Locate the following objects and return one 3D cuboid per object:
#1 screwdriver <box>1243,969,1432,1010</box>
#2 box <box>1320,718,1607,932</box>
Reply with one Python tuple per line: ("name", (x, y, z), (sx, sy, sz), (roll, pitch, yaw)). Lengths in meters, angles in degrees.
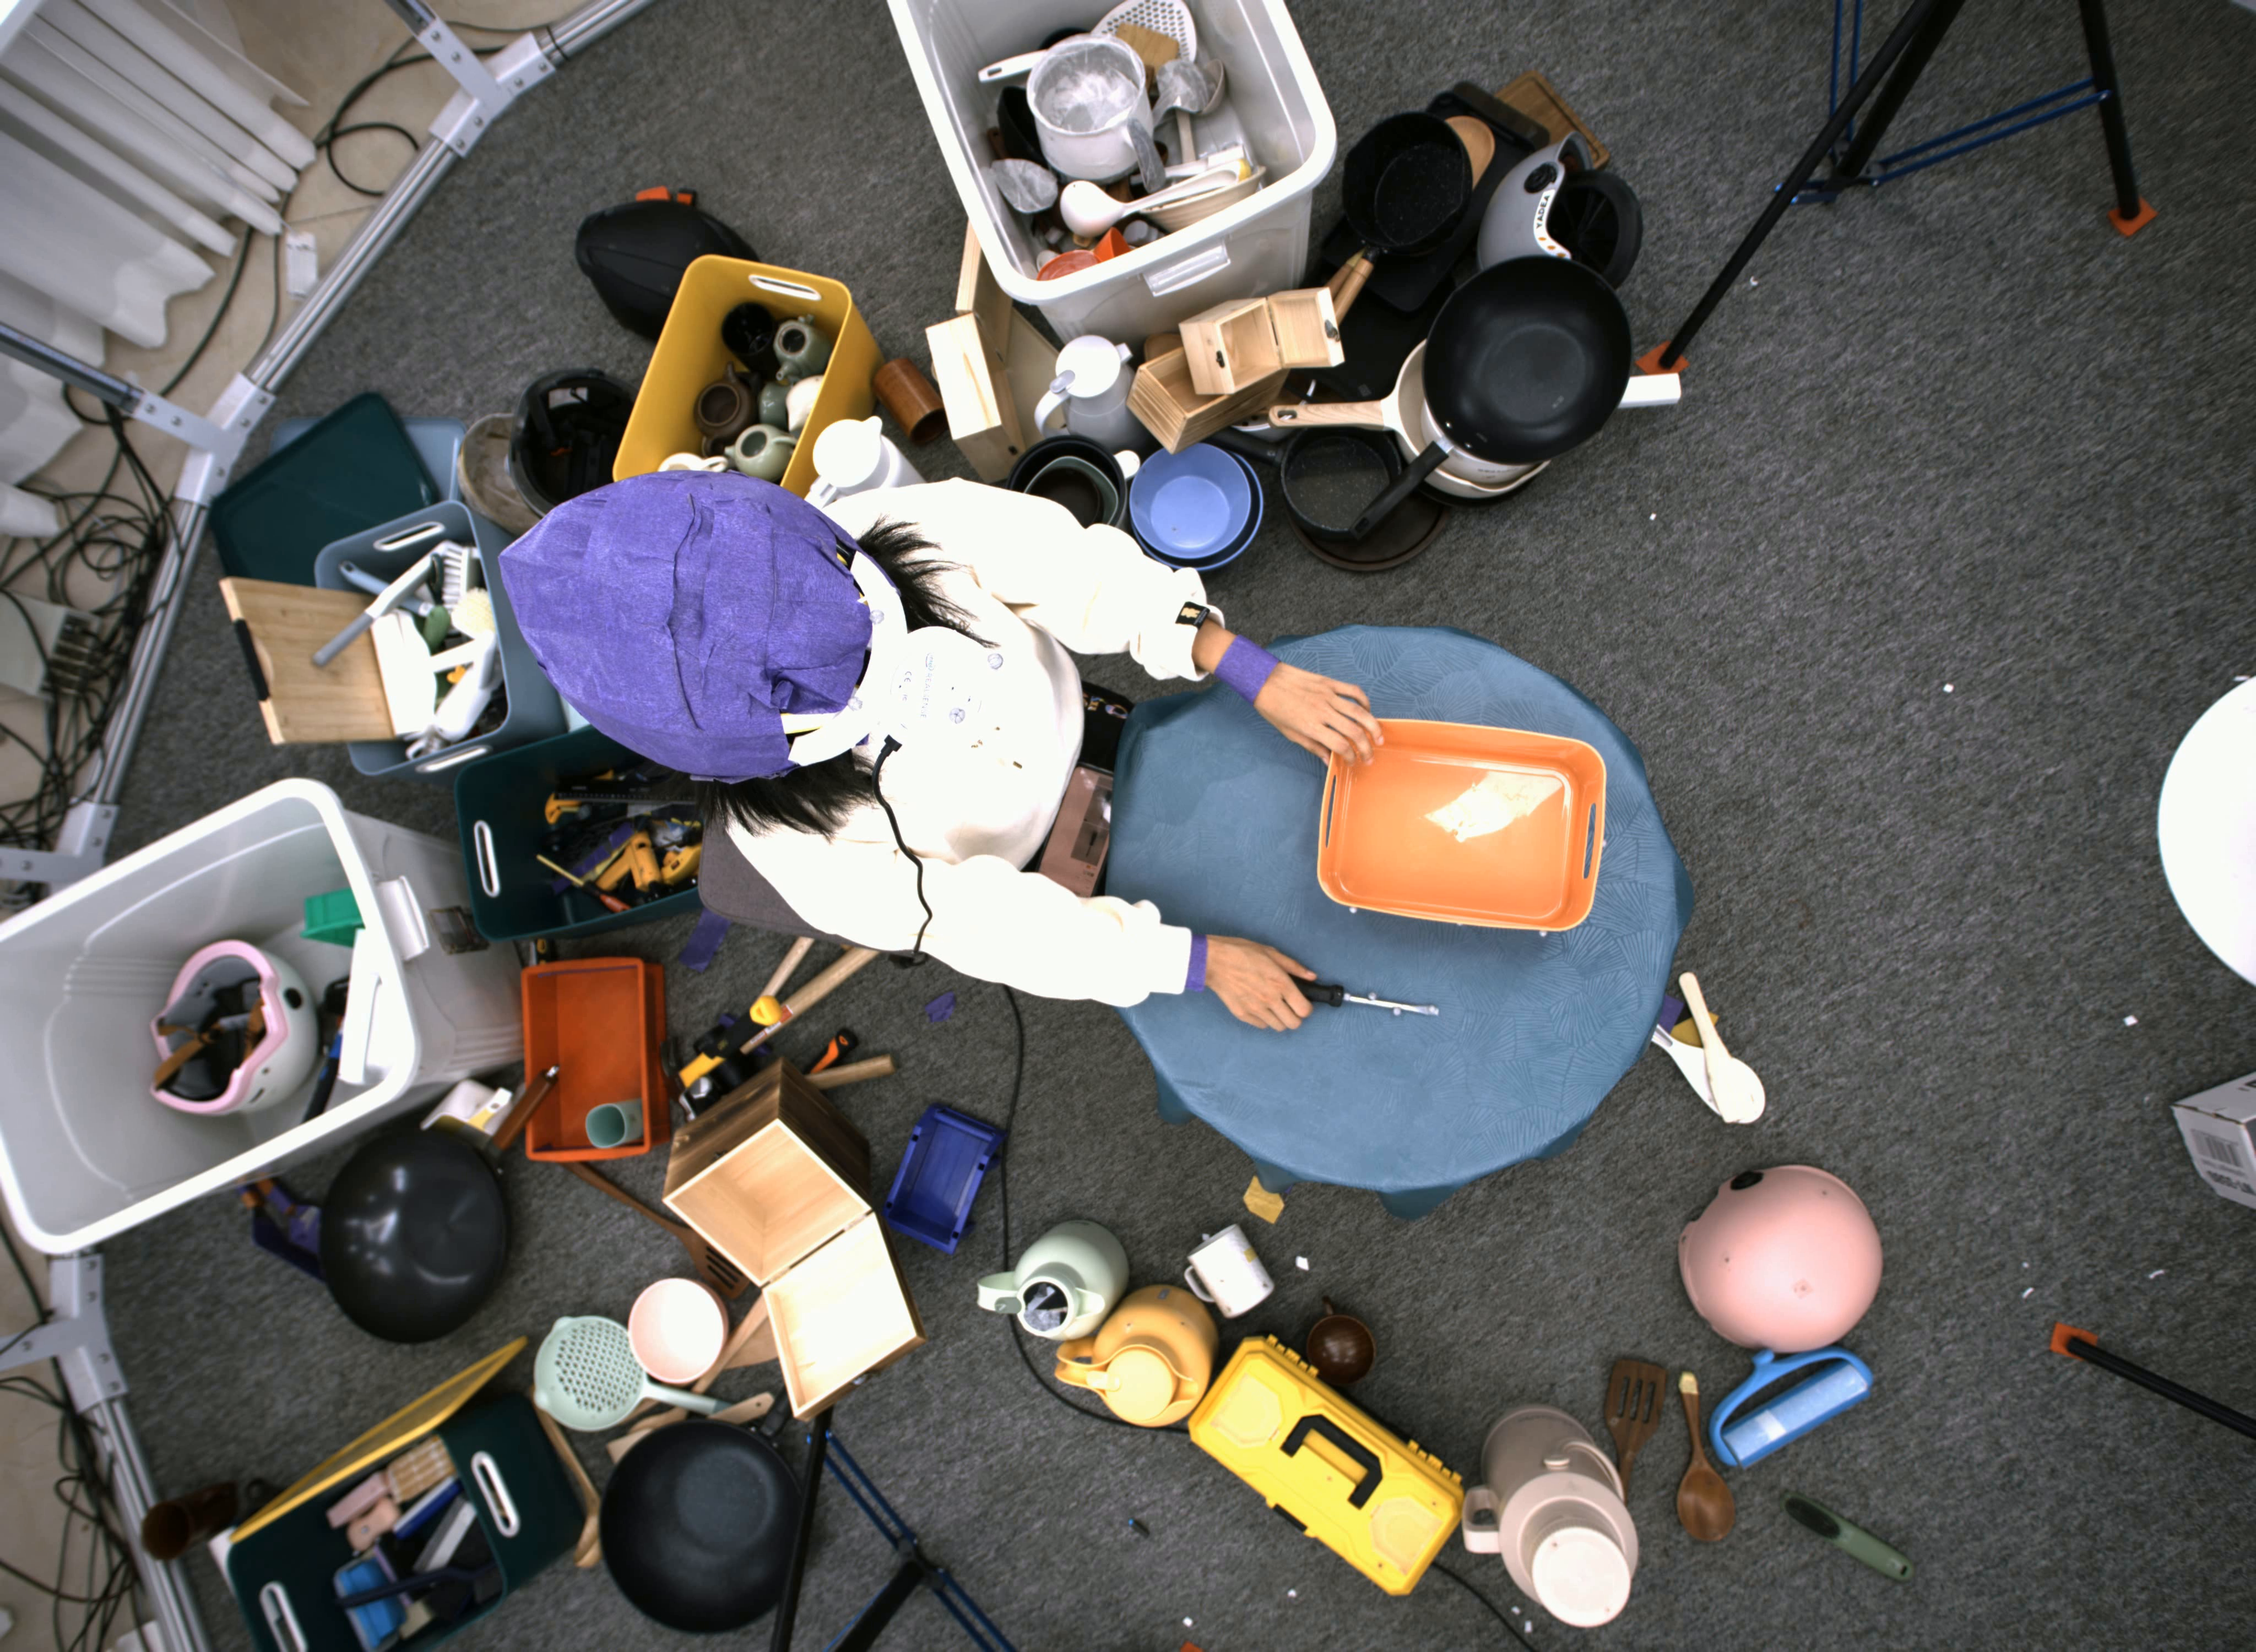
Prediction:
("screwdriver", (0.218, 0.170, 1.439), (0.198, 0.031, 0.031), (5, 86, 1))
("box", (0.336, -0.001, 1.399), (0.274, 0.102, 0.199), (6, 88, 10))
